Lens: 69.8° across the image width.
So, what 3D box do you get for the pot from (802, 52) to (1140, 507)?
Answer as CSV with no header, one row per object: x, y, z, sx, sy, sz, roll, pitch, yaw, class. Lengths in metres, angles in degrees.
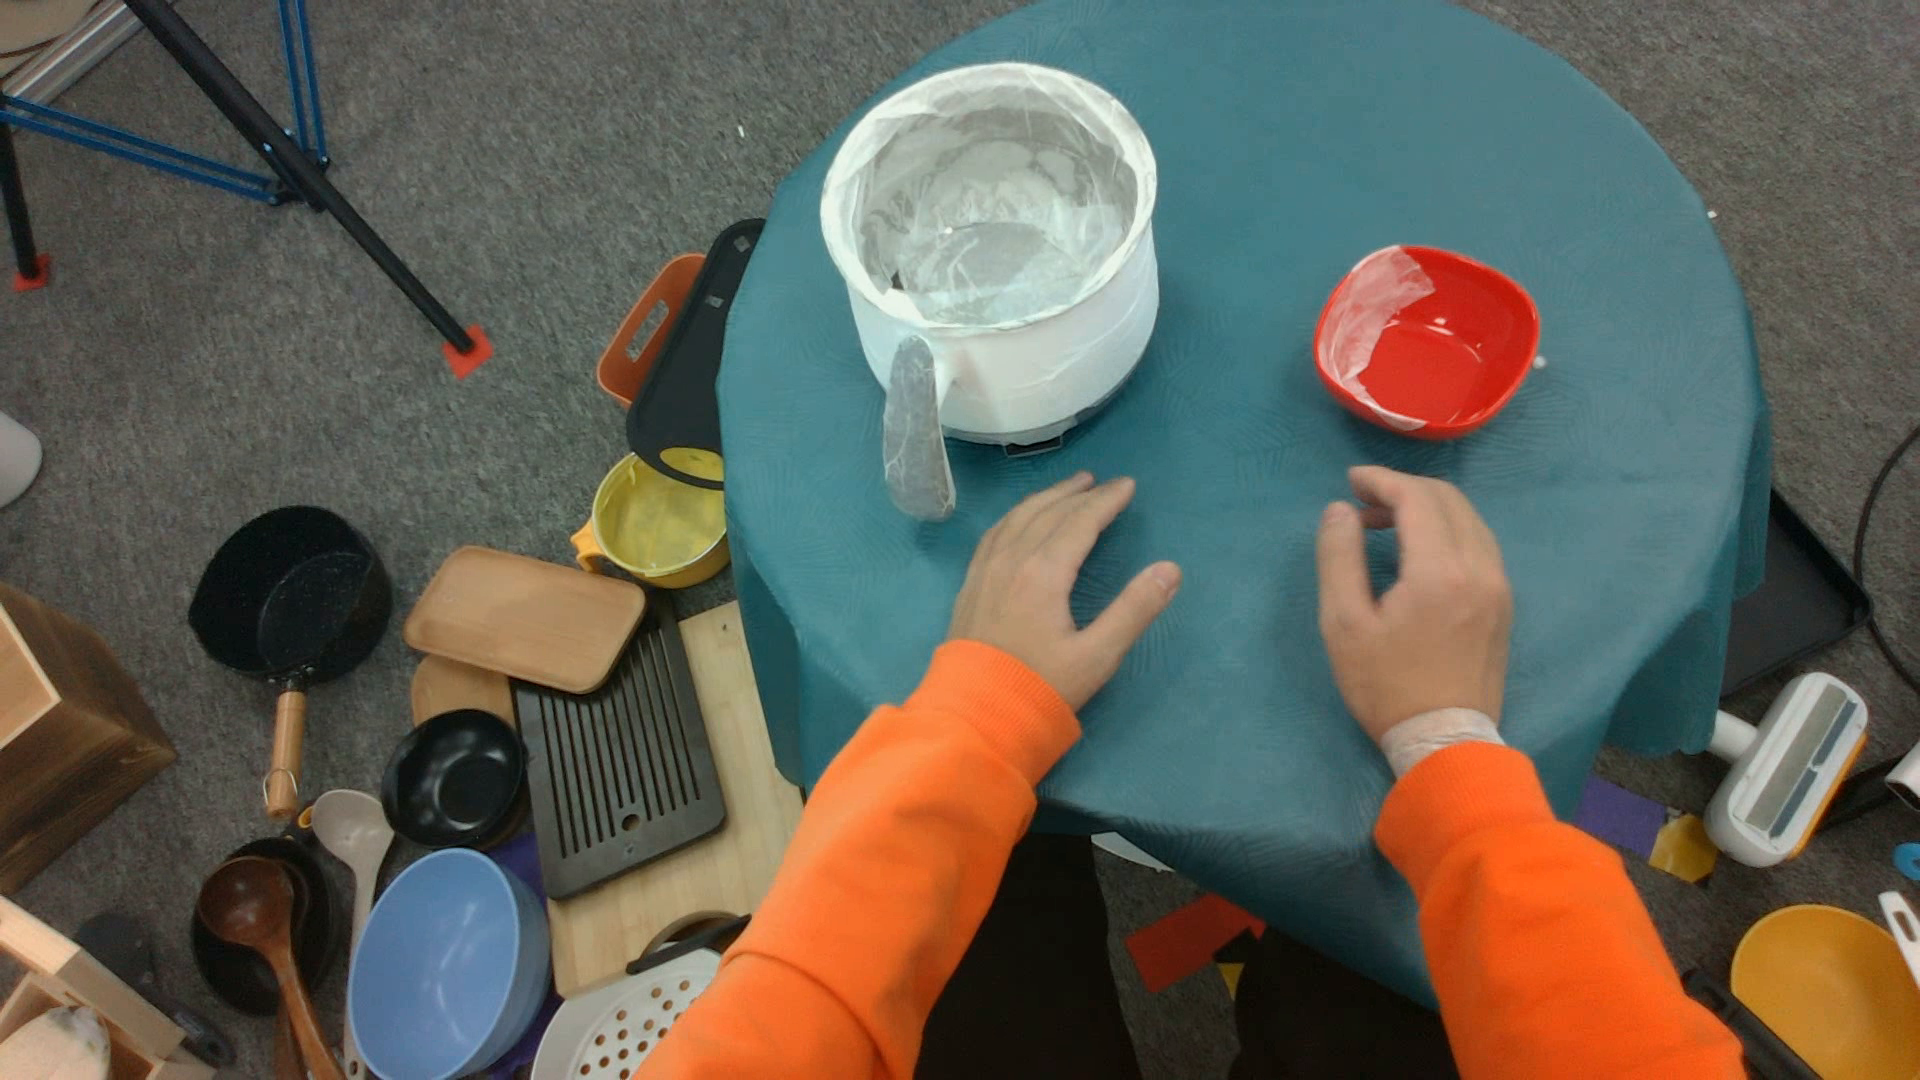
0.003,-0.138,0.766,0.178,0.136,0.234,14,67,15,pot

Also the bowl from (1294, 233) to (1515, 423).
0.243,-0.109,0.765,0.119,0.051,0.119,-3,63,5,bowl
